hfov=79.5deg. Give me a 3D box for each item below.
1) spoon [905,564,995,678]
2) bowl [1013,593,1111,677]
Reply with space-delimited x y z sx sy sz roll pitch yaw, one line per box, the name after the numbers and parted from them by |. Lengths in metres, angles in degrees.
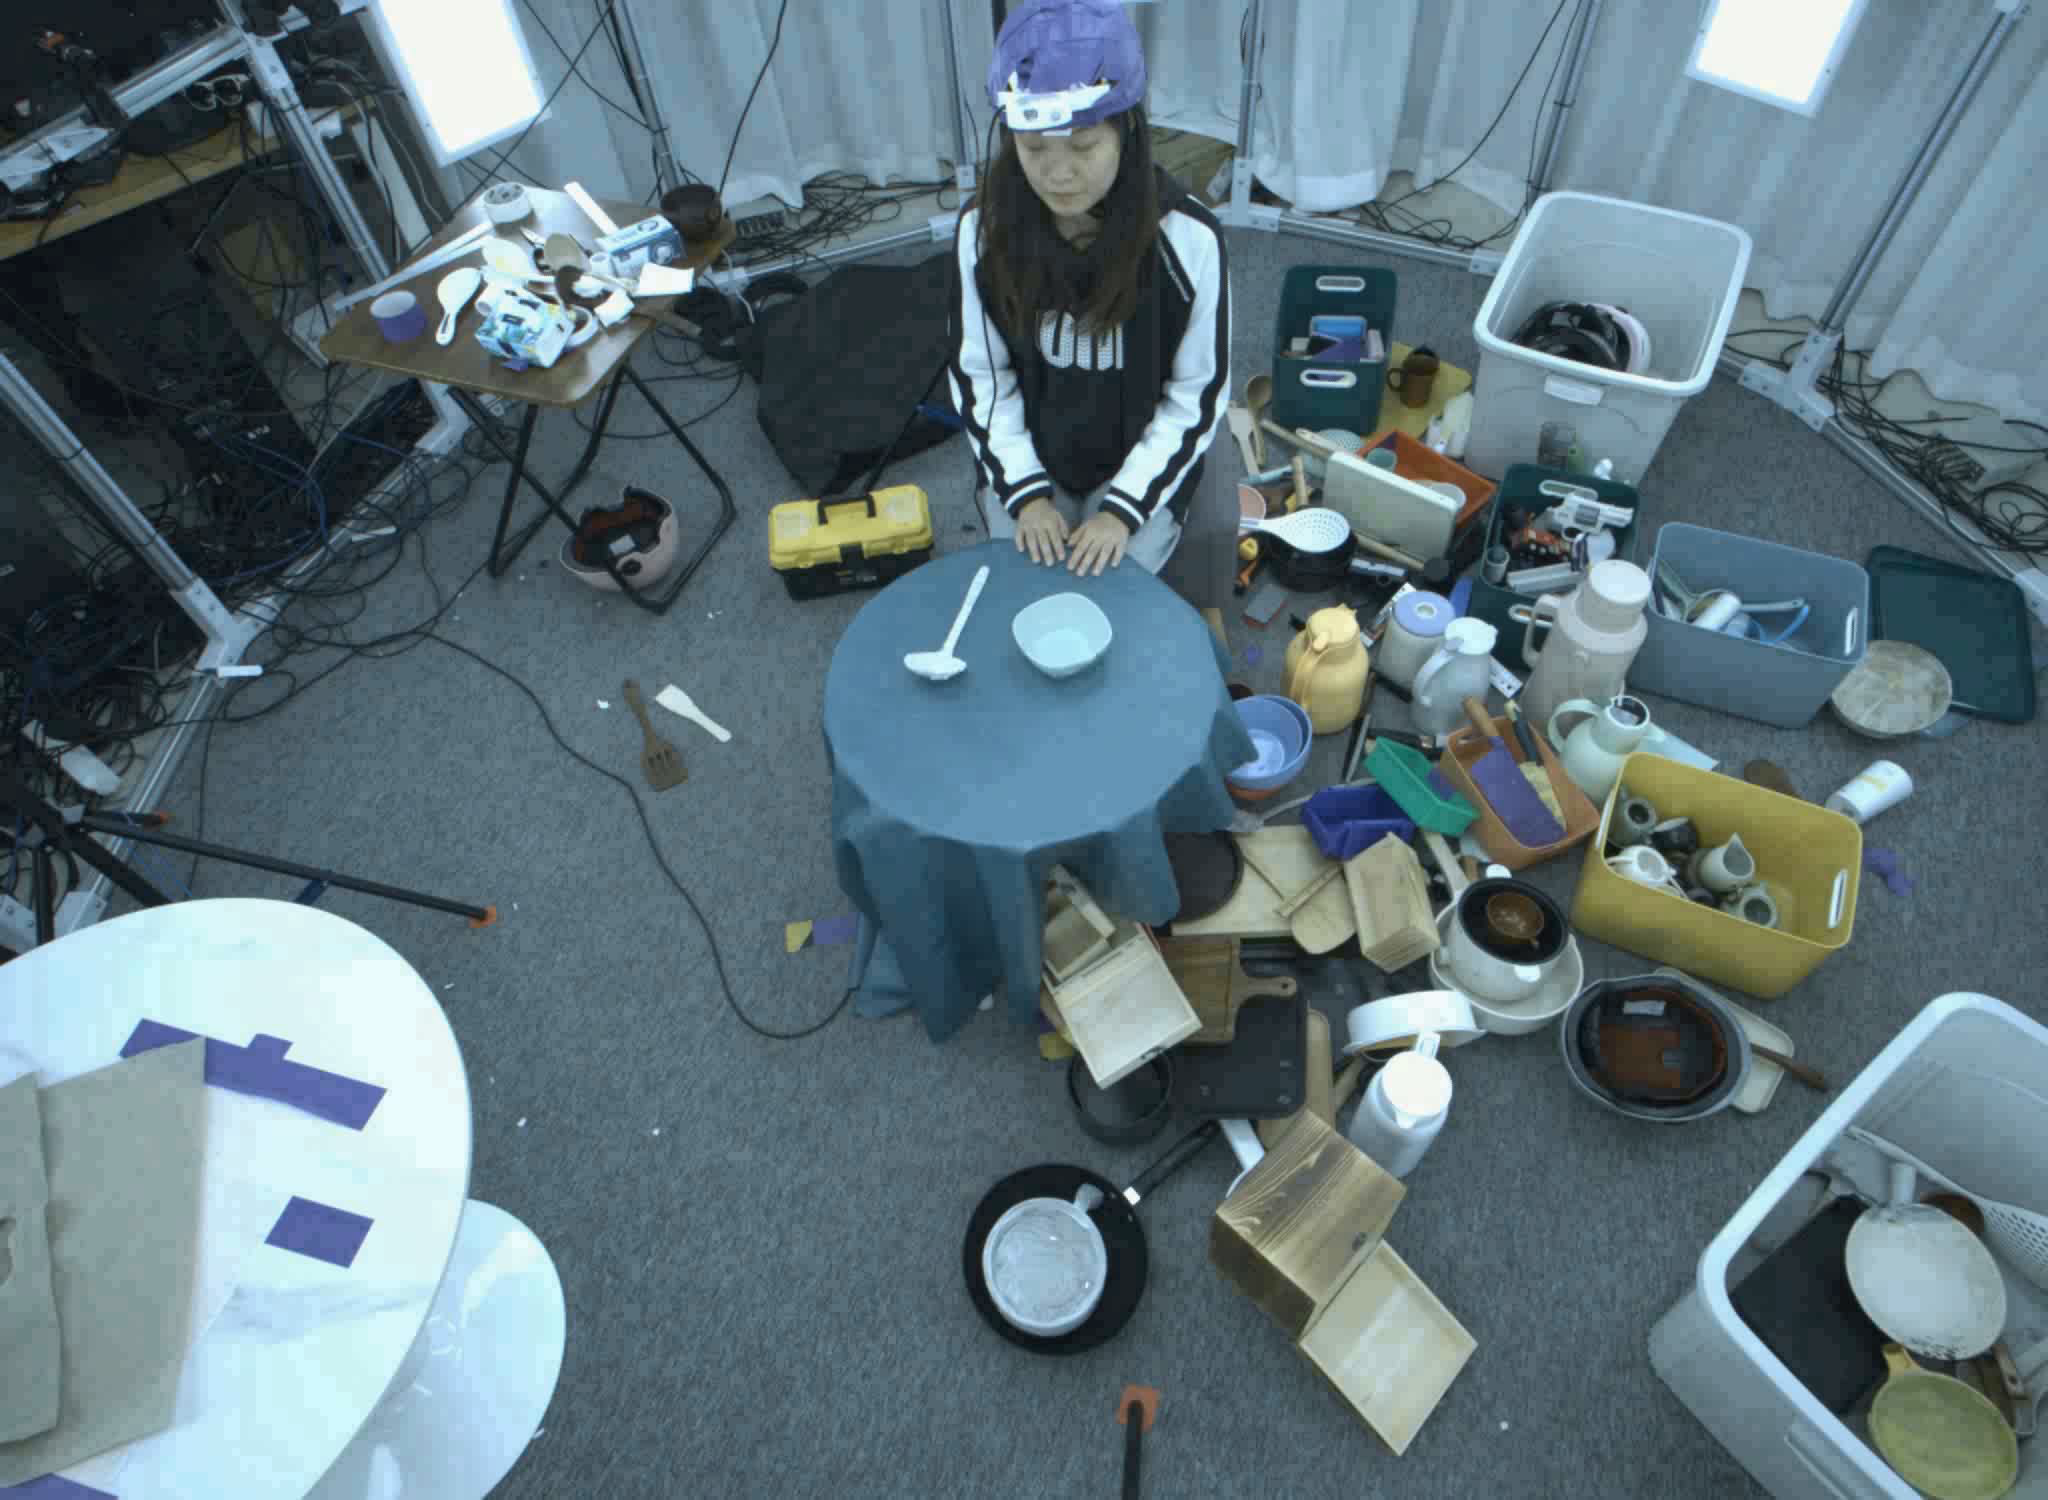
-0.096 -0.208 1.903 0.100 0.060 0.277 18 58 9 | spoon
0.058 -0.165 1.871 0.151 0.059 0.150 0 55 2 | bowl
